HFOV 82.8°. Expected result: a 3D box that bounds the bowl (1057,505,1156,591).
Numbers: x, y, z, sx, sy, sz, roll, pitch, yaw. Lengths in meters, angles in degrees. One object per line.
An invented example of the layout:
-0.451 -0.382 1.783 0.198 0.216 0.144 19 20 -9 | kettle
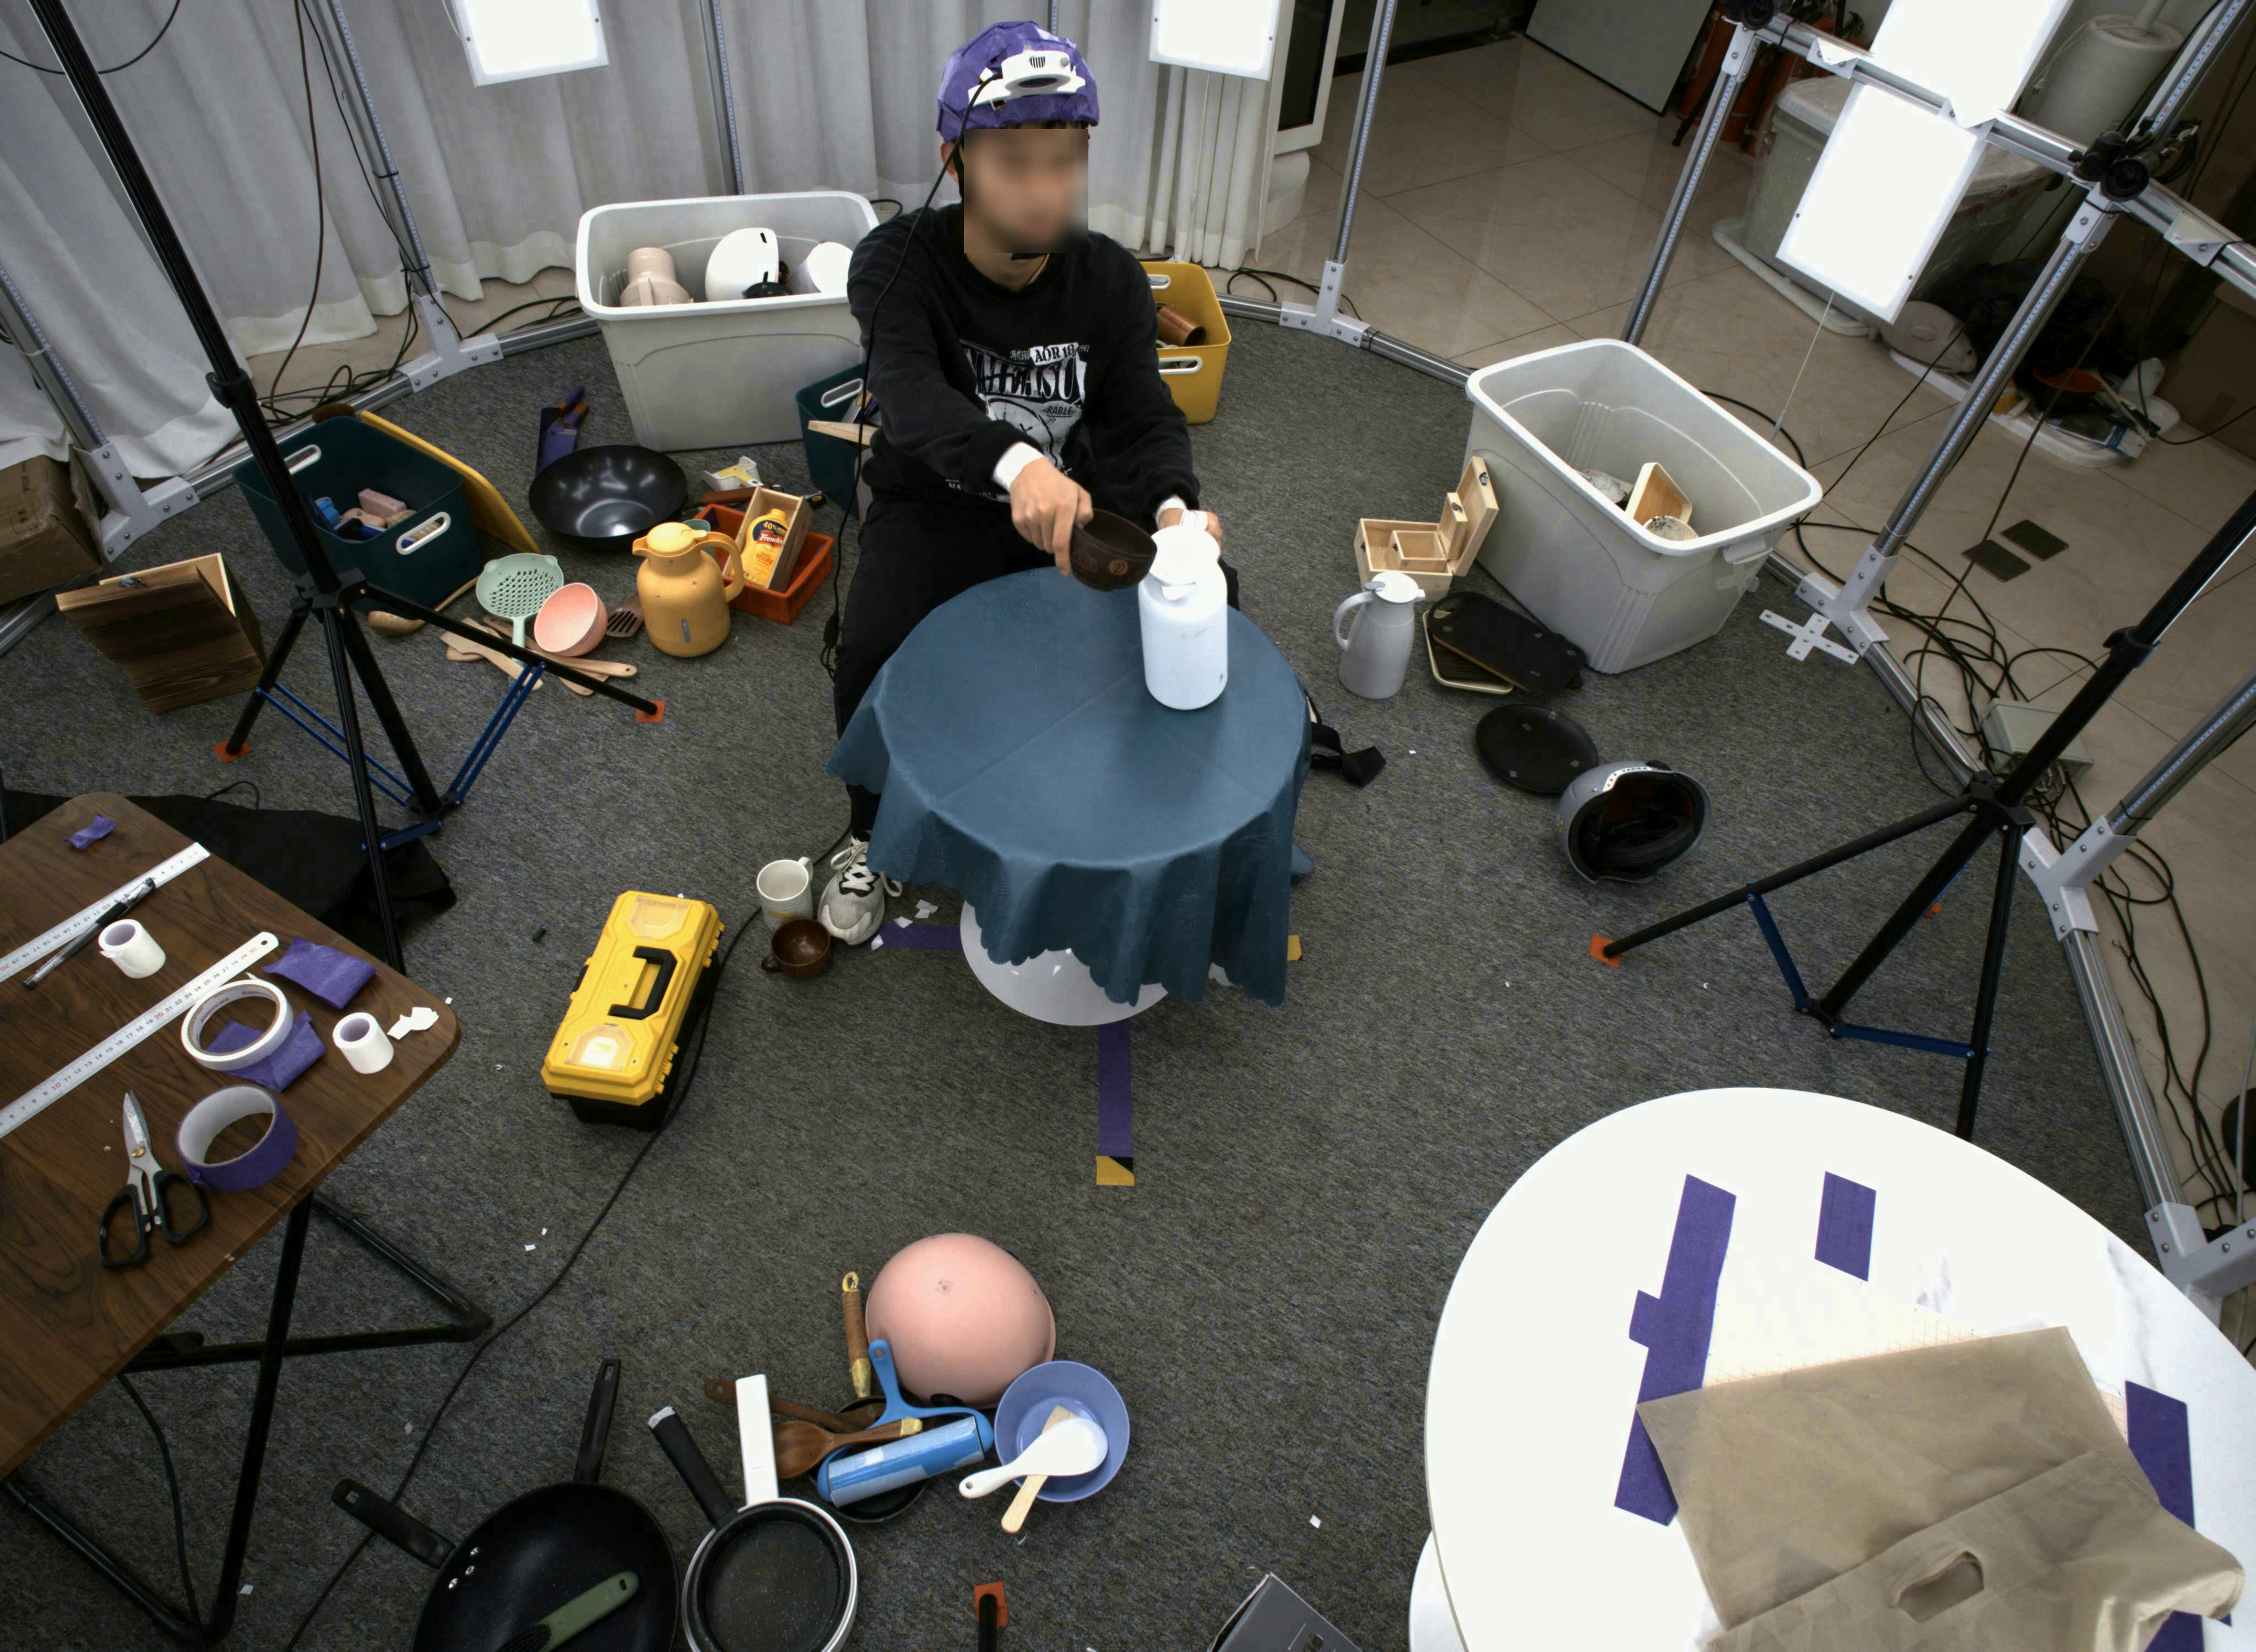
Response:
-0.032 -0.329 1.558 0.117 0.068 0.121 18 32 -12 | bowl

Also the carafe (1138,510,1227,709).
0.078 -0.293 1.744 0.124 0.262 0.176 6 59 11 | carafe
